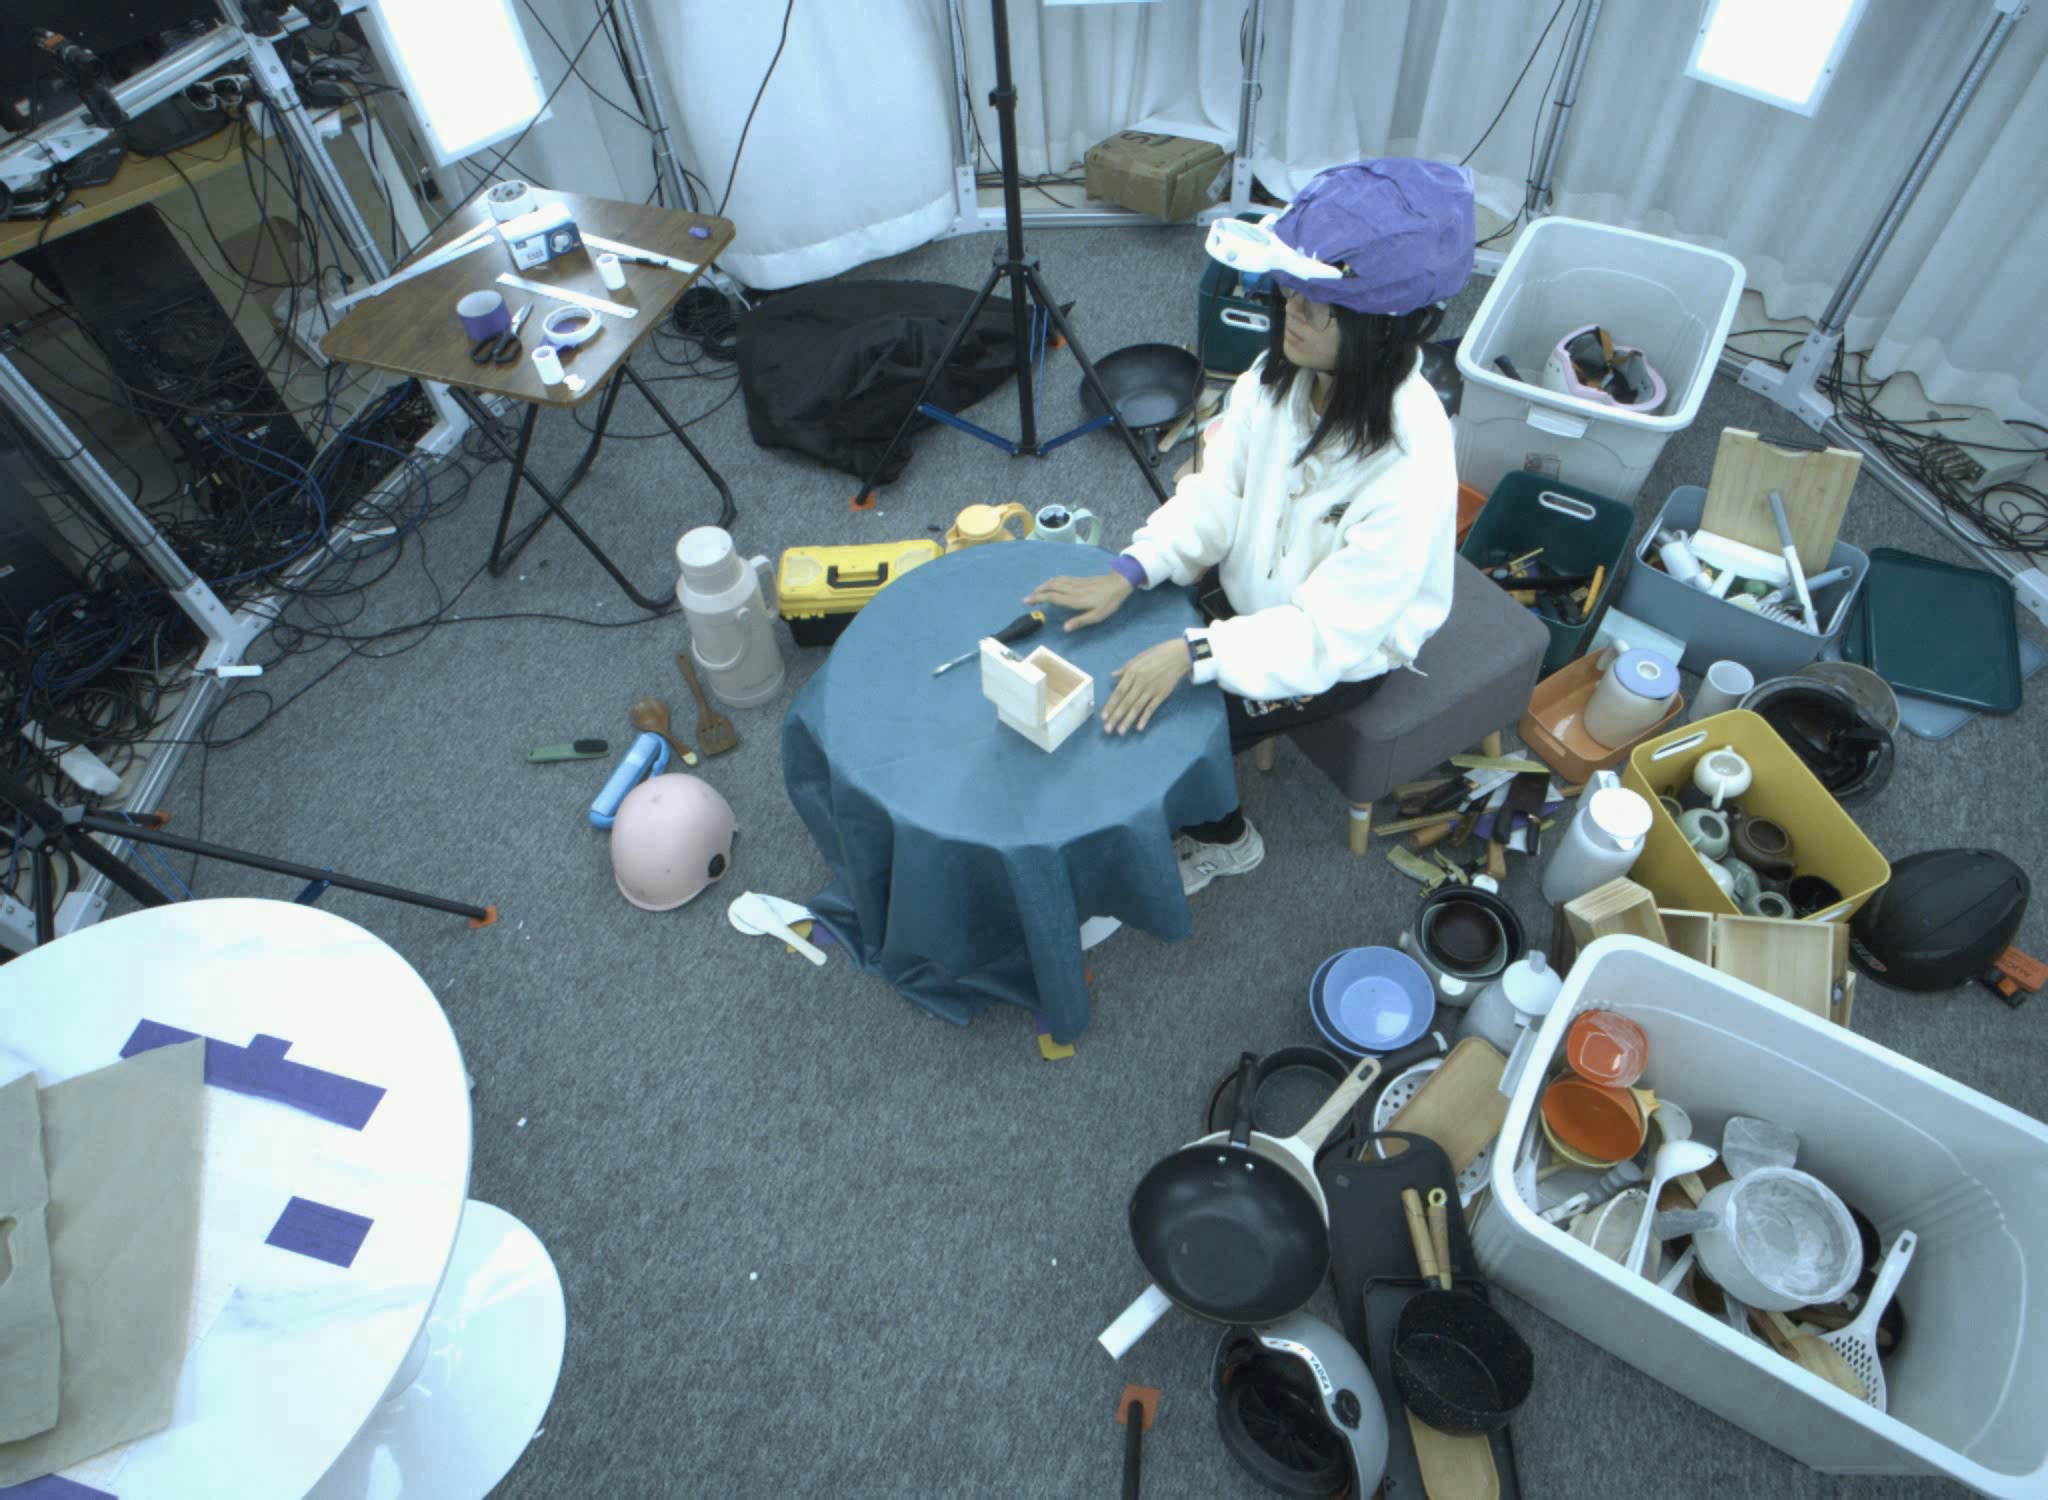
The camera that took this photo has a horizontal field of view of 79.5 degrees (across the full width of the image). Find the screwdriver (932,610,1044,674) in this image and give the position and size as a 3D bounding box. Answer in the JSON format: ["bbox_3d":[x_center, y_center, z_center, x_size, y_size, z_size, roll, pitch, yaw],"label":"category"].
[{"bbox_3d":[-0.057,-0.167,1.894,0.199,0.032,0.031,-26,58,-12],"label":"screwdriver"}]

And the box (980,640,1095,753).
[{"bbox_3d":[0.023,-0.099,1.743,0.101,0.186,0.134,33,63,24],"label":"box"}]
